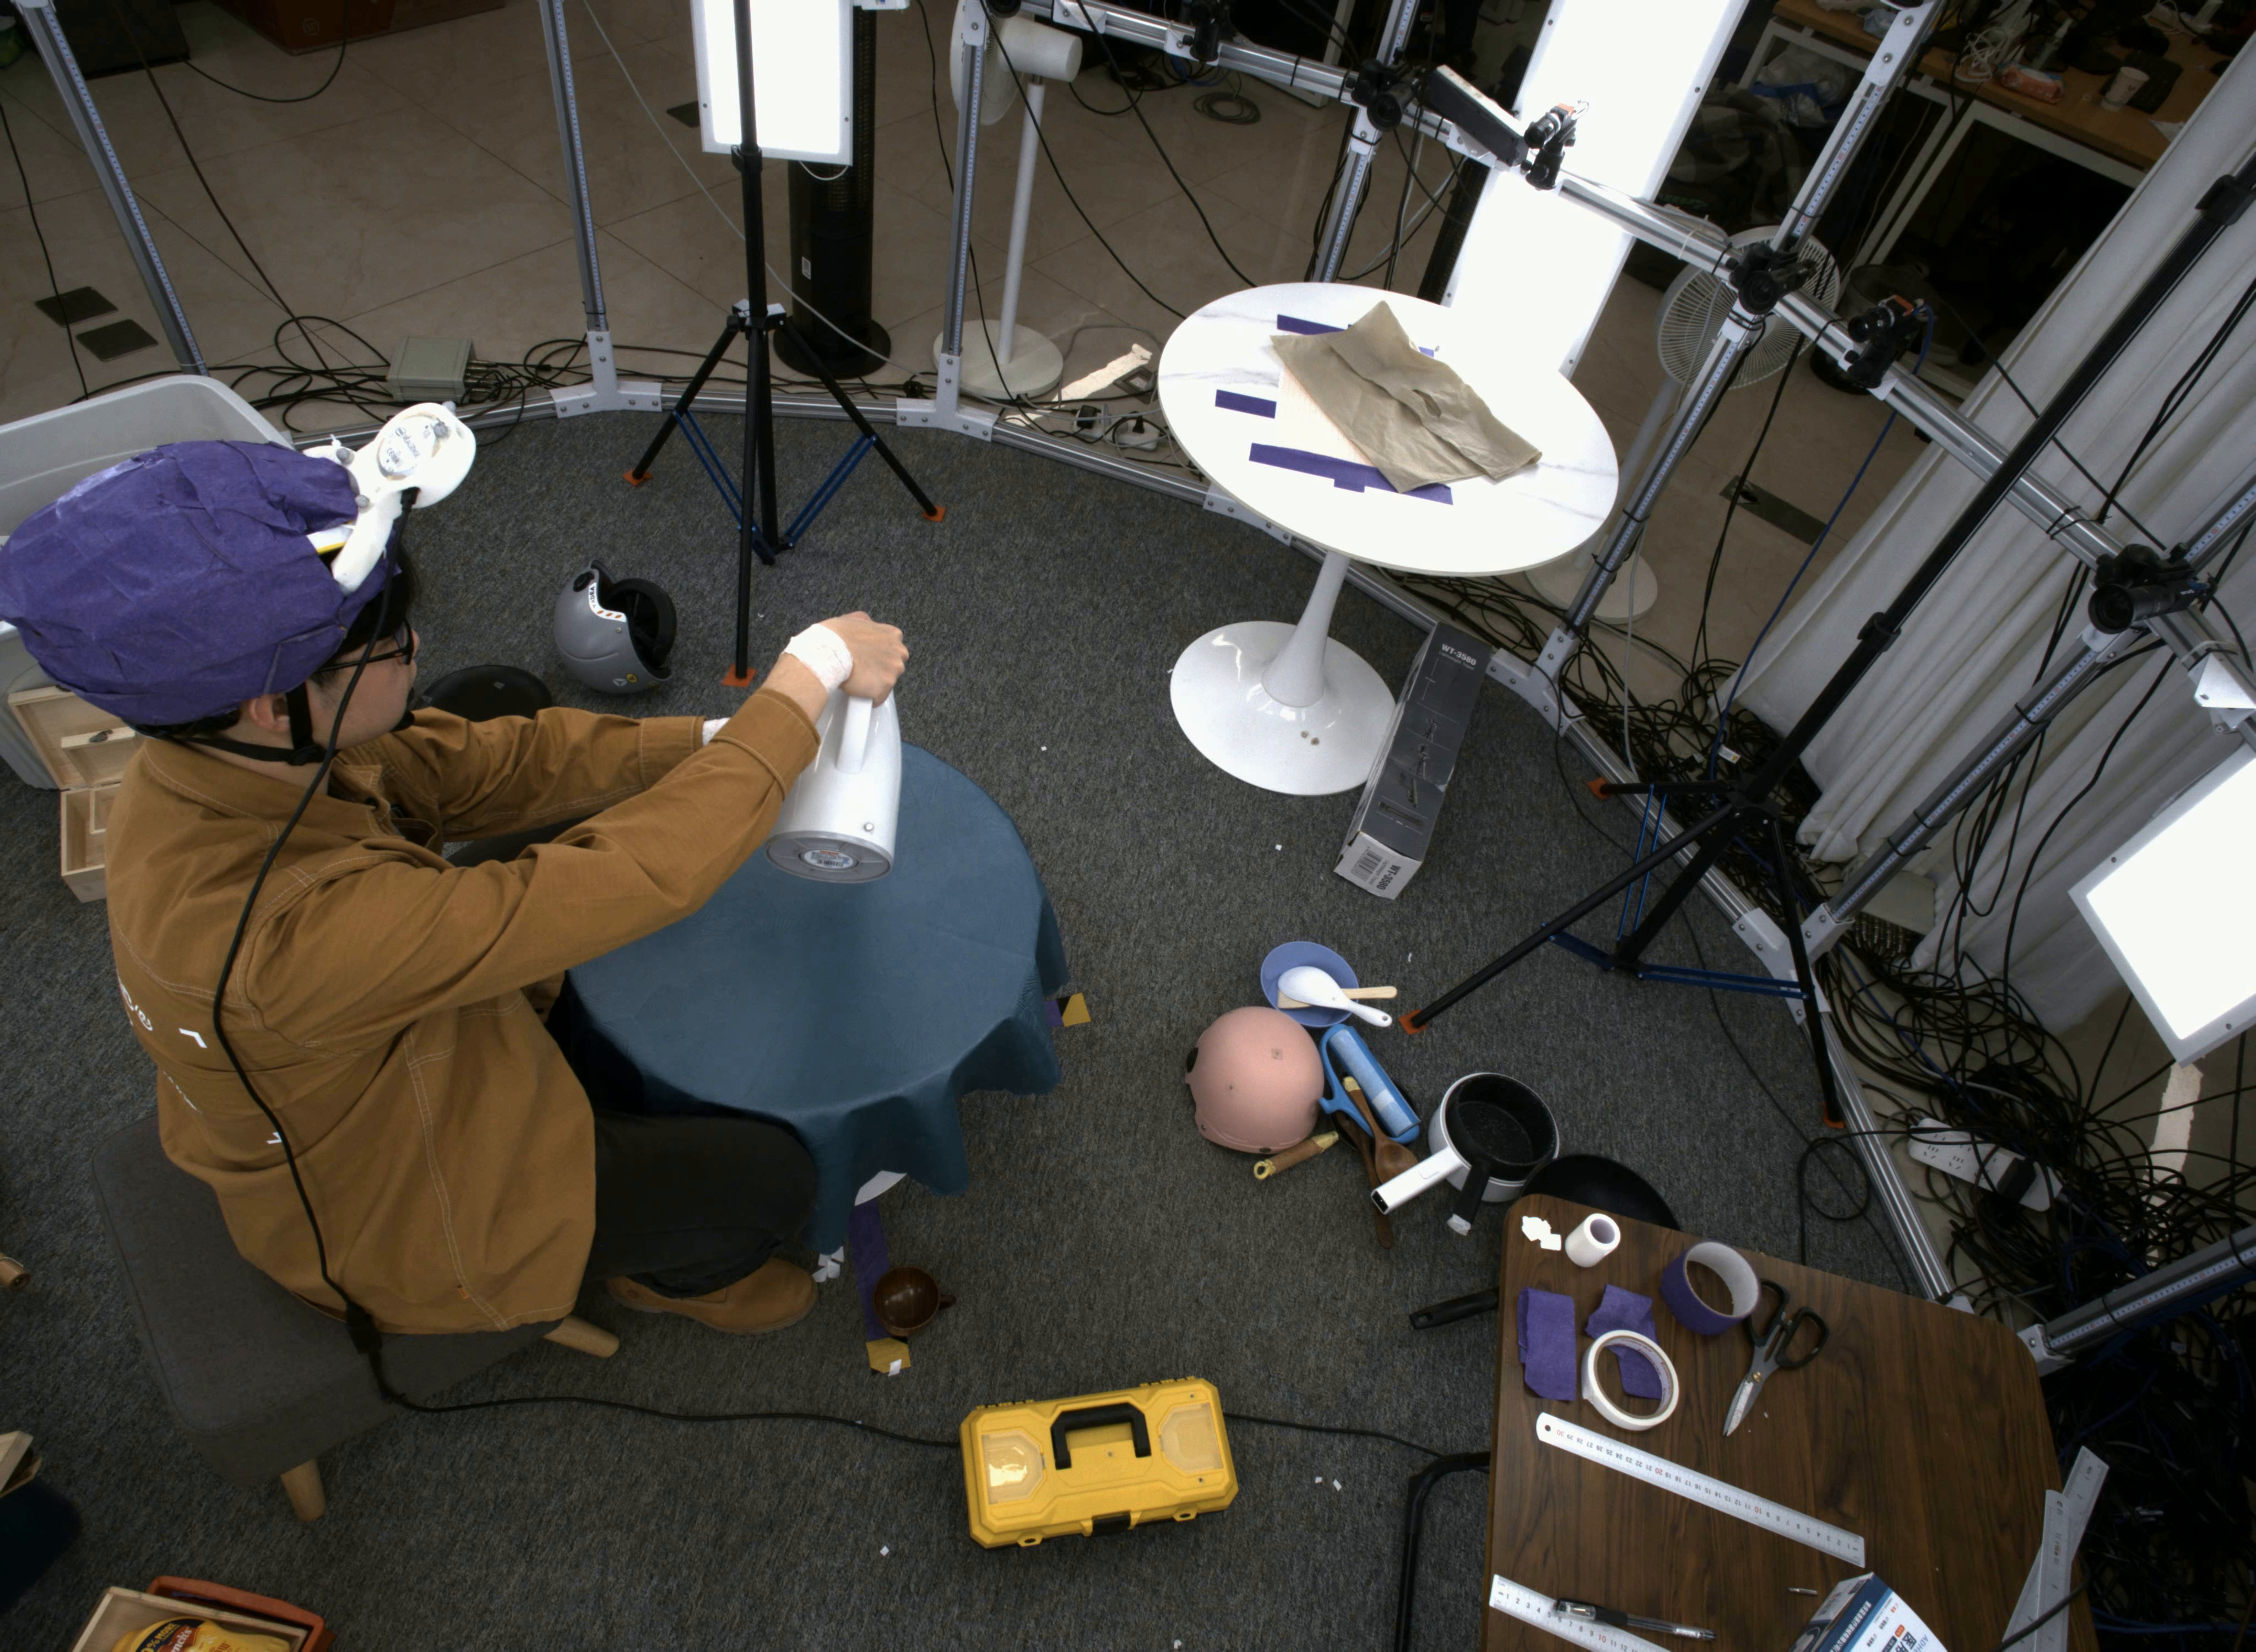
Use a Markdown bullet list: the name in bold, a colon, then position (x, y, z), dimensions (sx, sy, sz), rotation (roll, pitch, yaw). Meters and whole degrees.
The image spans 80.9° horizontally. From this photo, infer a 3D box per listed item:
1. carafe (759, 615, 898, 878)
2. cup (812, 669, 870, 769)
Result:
- **carafe**: position (-0.298, -0.092, 1.352), dimensions (0.134, 0.167, 0.247), rotation (11, 67, -20)
- **cup**: position (-0.343, -0.124, 1.535), dimensions (0.067, 0.133, 0.066), rotation (6, 67, -13)
